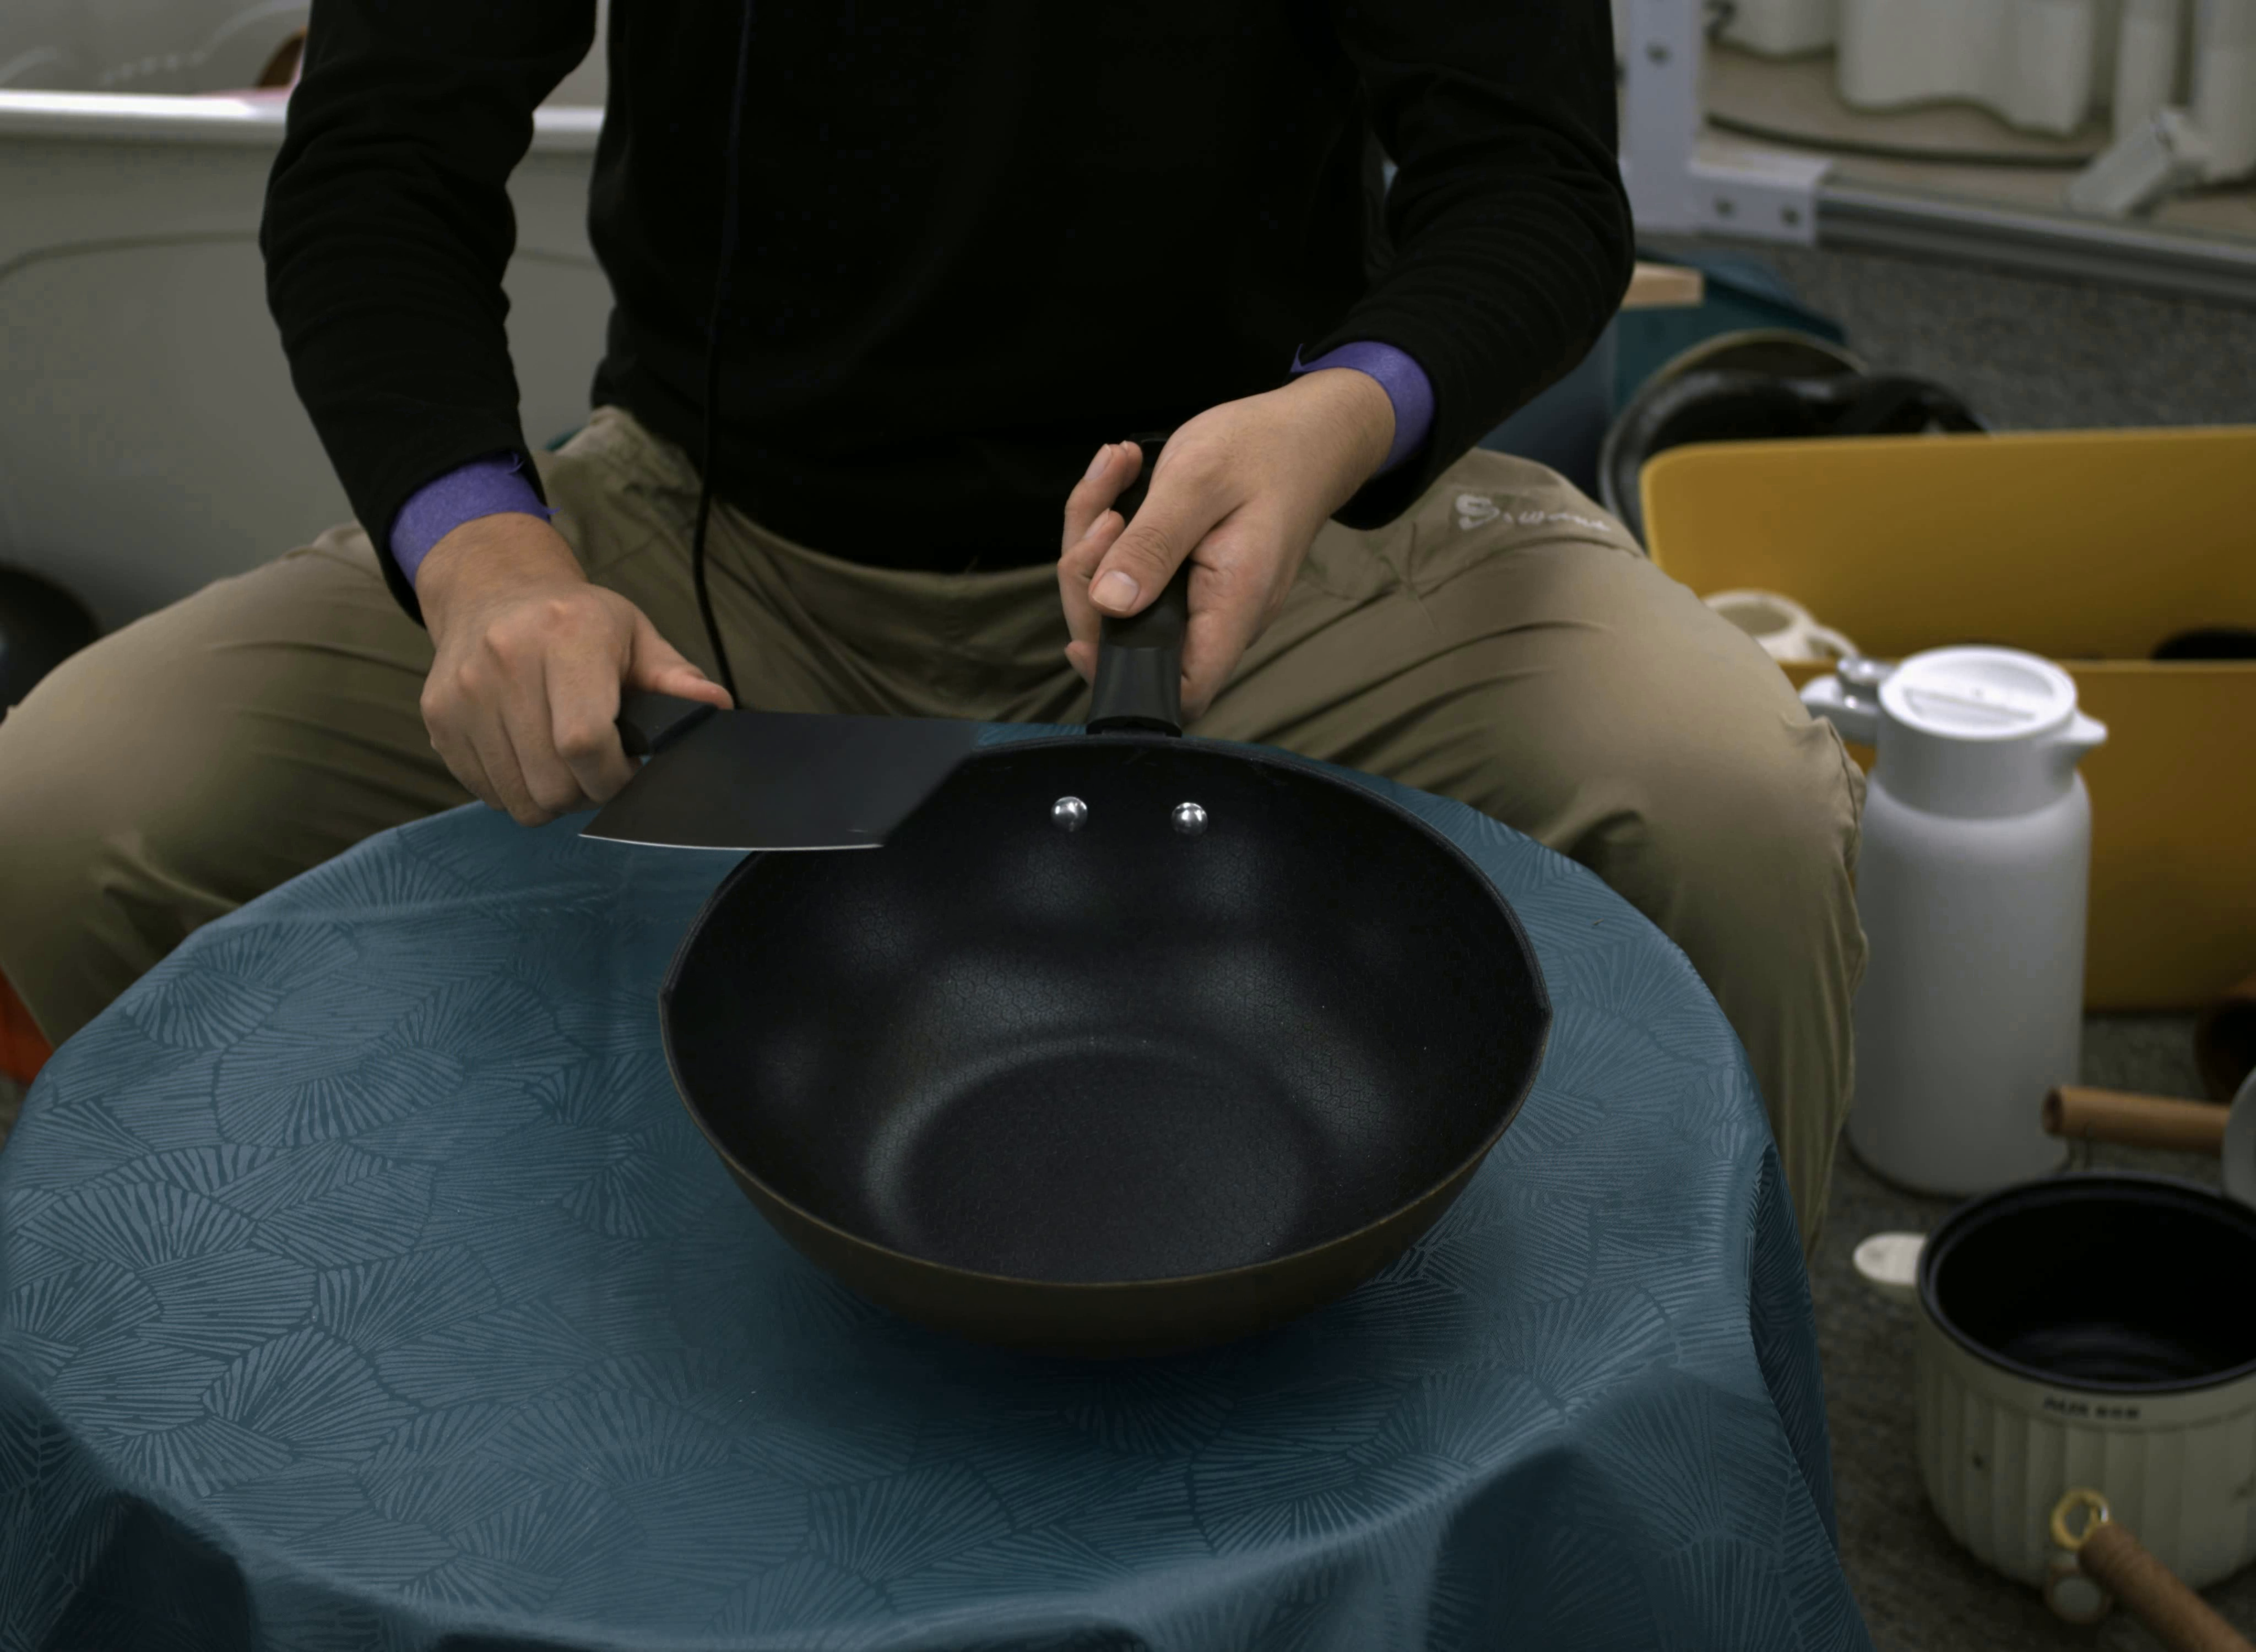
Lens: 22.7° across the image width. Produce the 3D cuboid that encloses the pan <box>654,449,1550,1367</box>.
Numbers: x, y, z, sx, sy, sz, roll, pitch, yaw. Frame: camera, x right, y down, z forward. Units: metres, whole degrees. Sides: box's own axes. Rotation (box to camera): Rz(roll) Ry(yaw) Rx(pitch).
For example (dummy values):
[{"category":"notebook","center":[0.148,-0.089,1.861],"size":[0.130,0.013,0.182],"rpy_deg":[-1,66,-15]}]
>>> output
[{"category":"pan","center":[-0.002,0.030,1.892],"size":[0.286,0.085,0.472],"rpy_deg":[2,37,3]}]

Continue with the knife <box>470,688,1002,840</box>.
[{"category":"knife","center":[-0.144,-0.021,1.910],"size":[0.082,0.021,0.300],"rpy_deg":[-44,26,-22]}]
